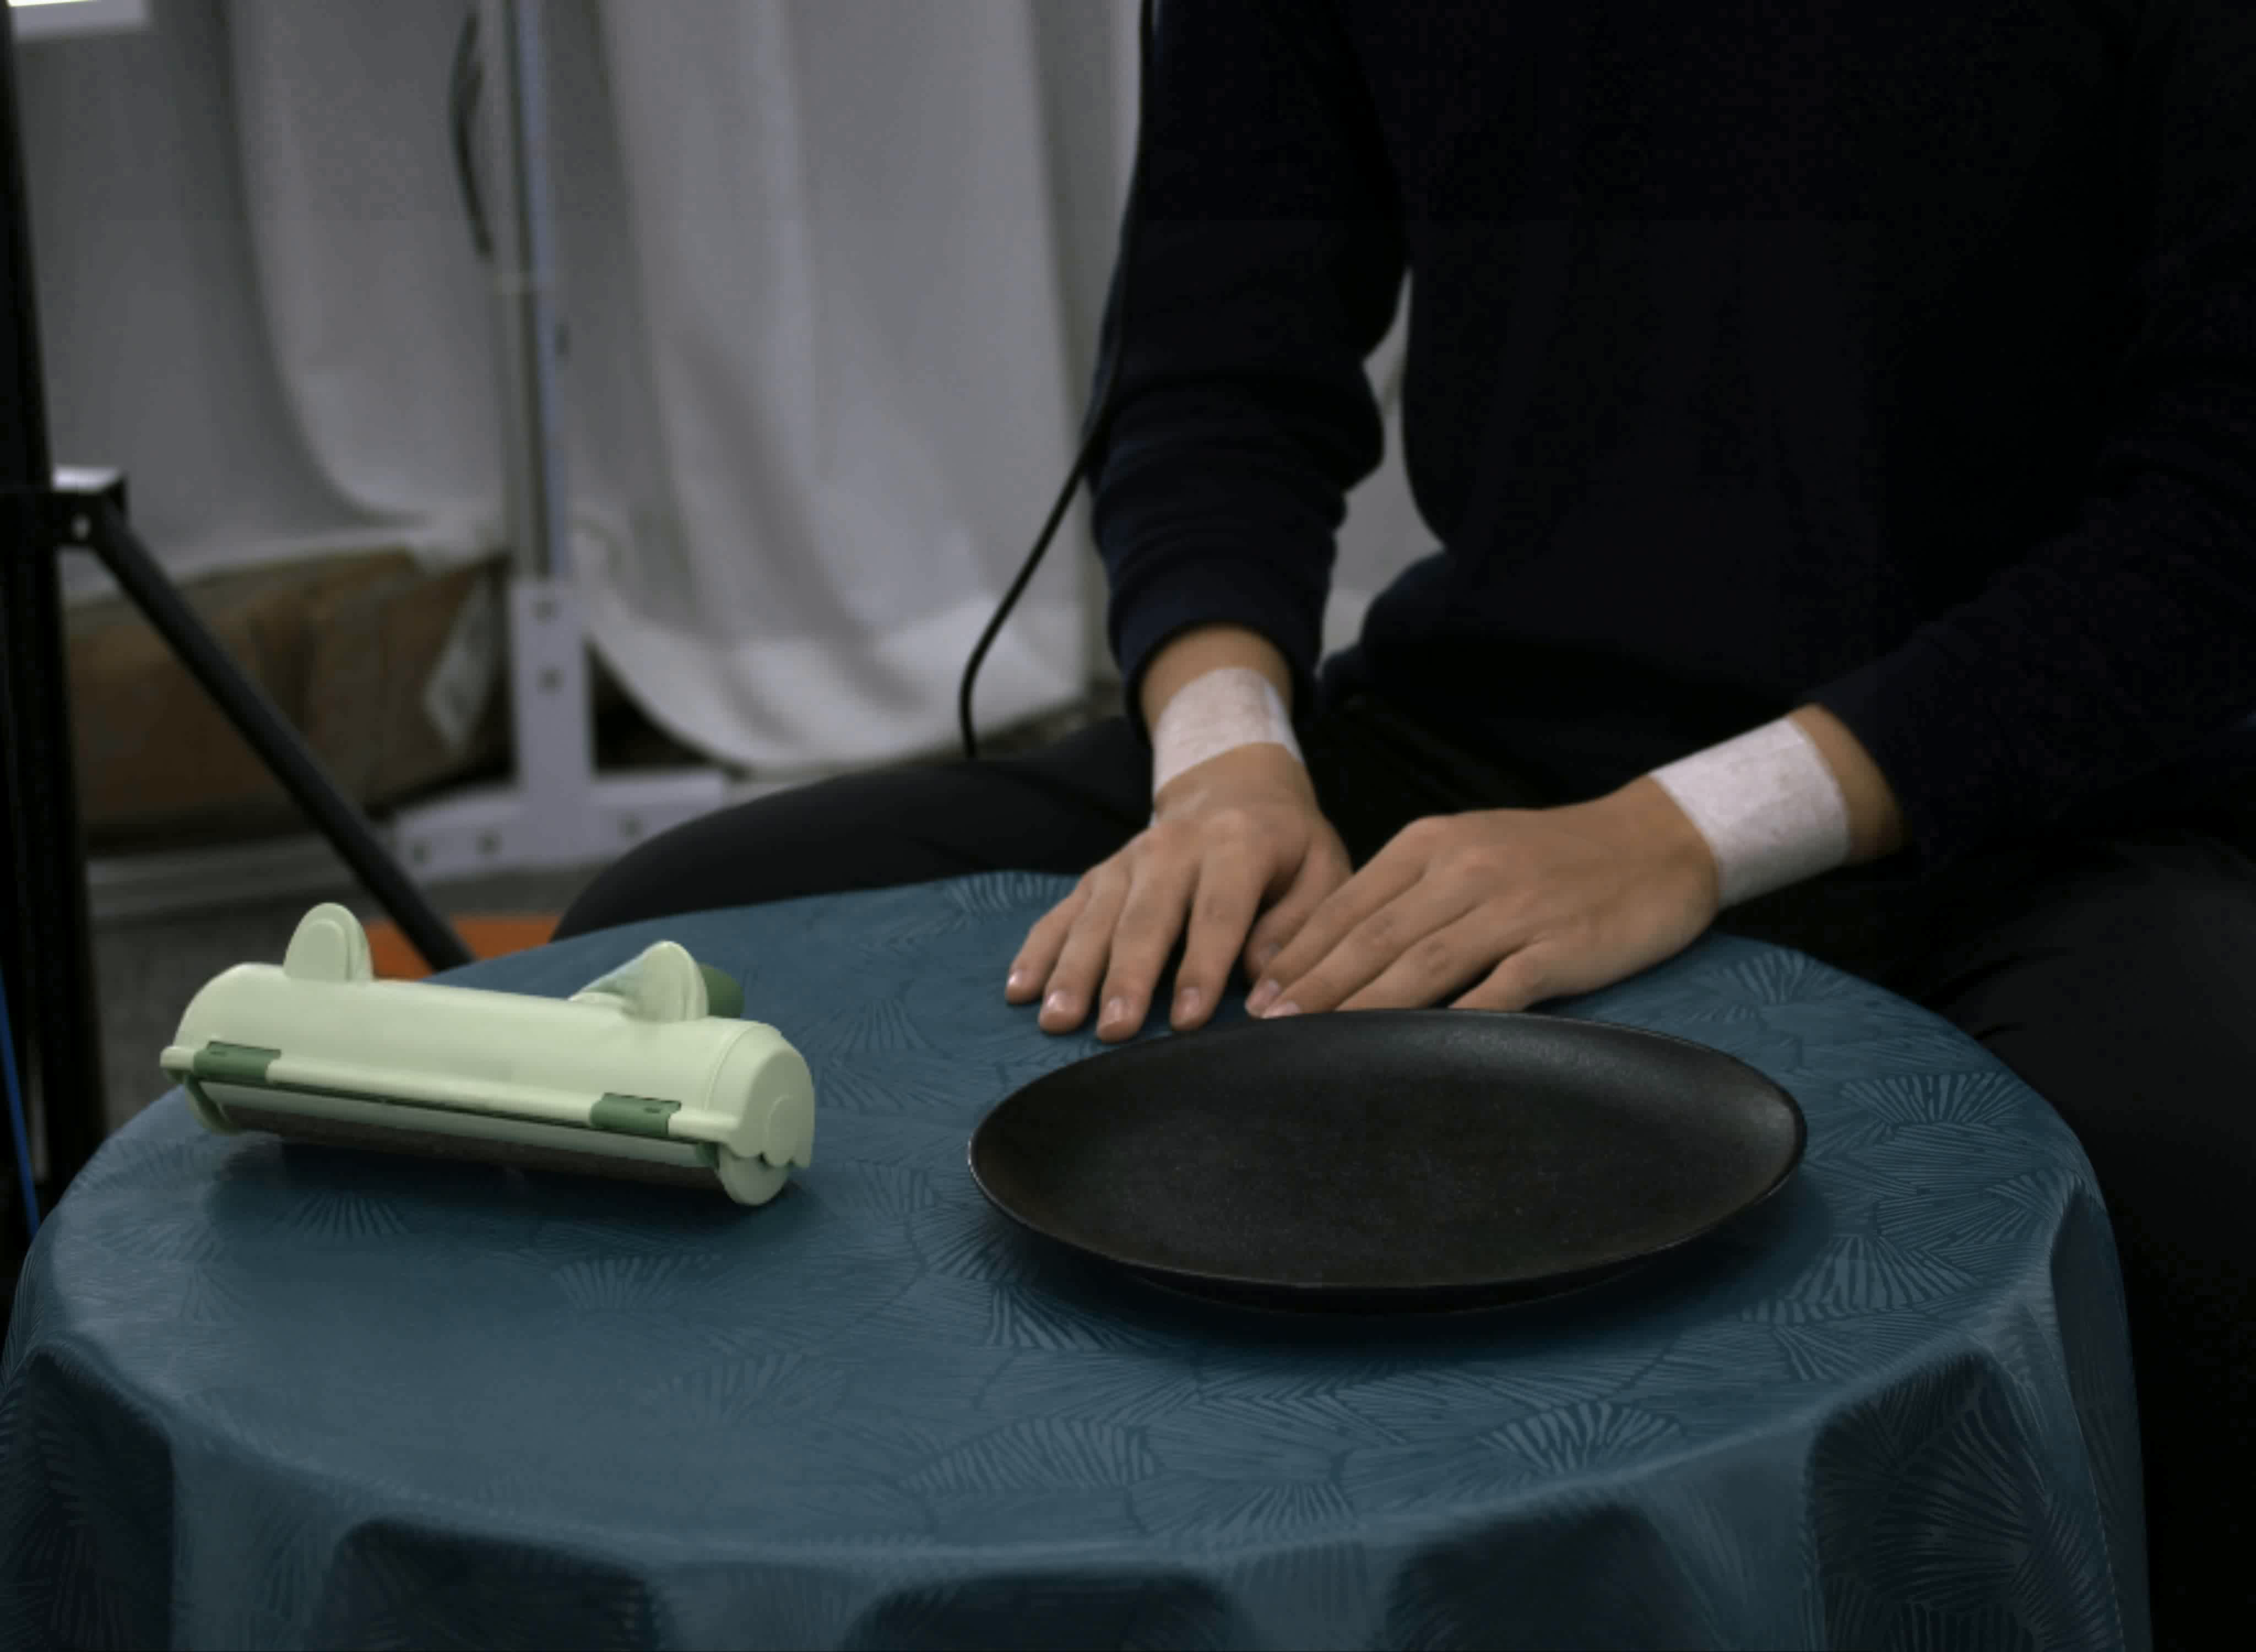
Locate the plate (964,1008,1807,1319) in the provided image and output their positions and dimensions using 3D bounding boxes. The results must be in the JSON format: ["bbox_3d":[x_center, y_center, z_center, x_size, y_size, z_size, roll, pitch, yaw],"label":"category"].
[{"bbox_3d":[0.074,0.100,1.530,0.243,0.023,0.245,-3,16,-1],"label":"plate"}]

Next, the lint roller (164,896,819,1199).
[{"bbox_3d":[-0.169,0.048,1.641,0.201,0.082,0.181,6,24,24],"label":"lint roller"}]
